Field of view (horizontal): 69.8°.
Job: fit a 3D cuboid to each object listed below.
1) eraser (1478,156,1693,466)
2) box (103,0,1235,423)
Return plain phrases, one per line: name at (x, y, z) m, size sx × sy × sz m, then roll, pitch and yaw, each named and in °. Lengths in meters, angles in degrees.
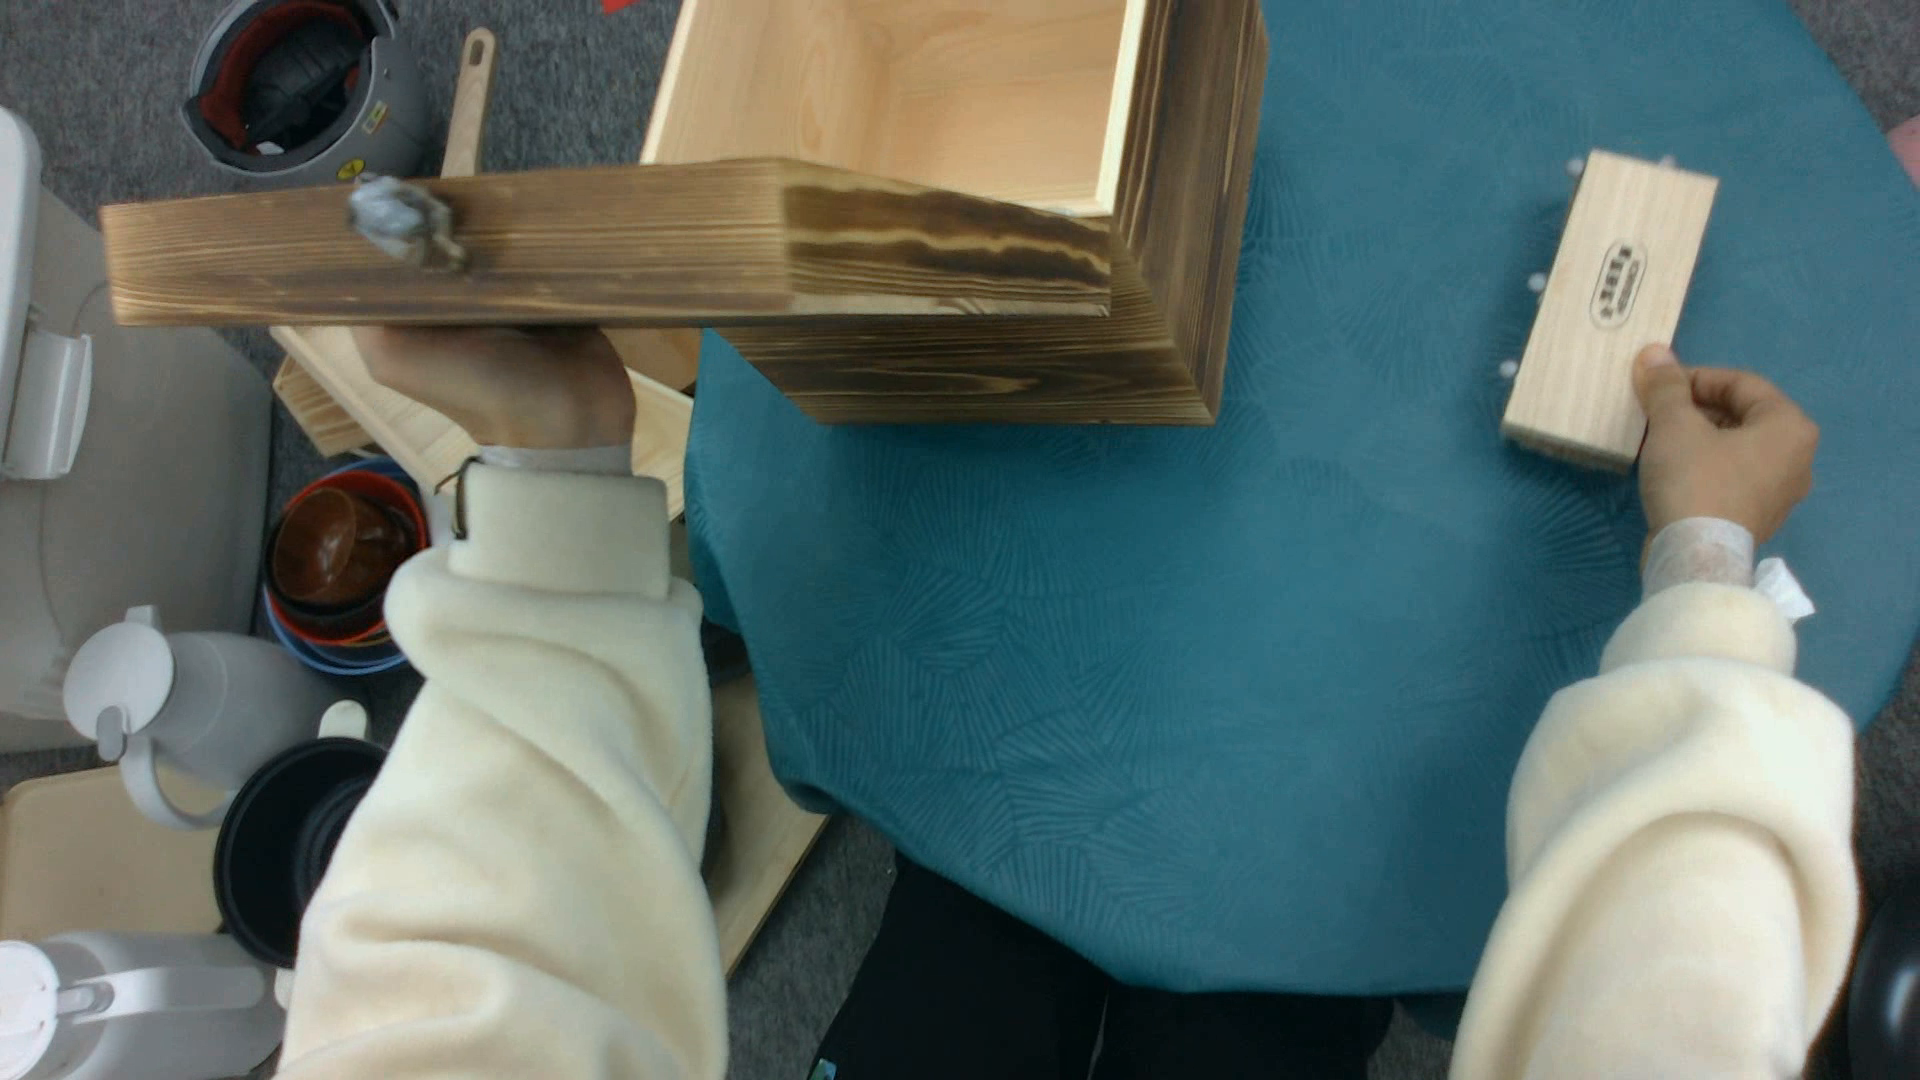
eraser at (0.287, -0.106, 0.635) m, size 0.057 × 0.029 × 0.139 m, roll 20°, pitch 77°, yaw 14°
box at (-0.040, -0.166, 0.498) m, size 0.208 × 0.375 × 0.323 m, roll 2°, pitch 70°, yaw 22°
